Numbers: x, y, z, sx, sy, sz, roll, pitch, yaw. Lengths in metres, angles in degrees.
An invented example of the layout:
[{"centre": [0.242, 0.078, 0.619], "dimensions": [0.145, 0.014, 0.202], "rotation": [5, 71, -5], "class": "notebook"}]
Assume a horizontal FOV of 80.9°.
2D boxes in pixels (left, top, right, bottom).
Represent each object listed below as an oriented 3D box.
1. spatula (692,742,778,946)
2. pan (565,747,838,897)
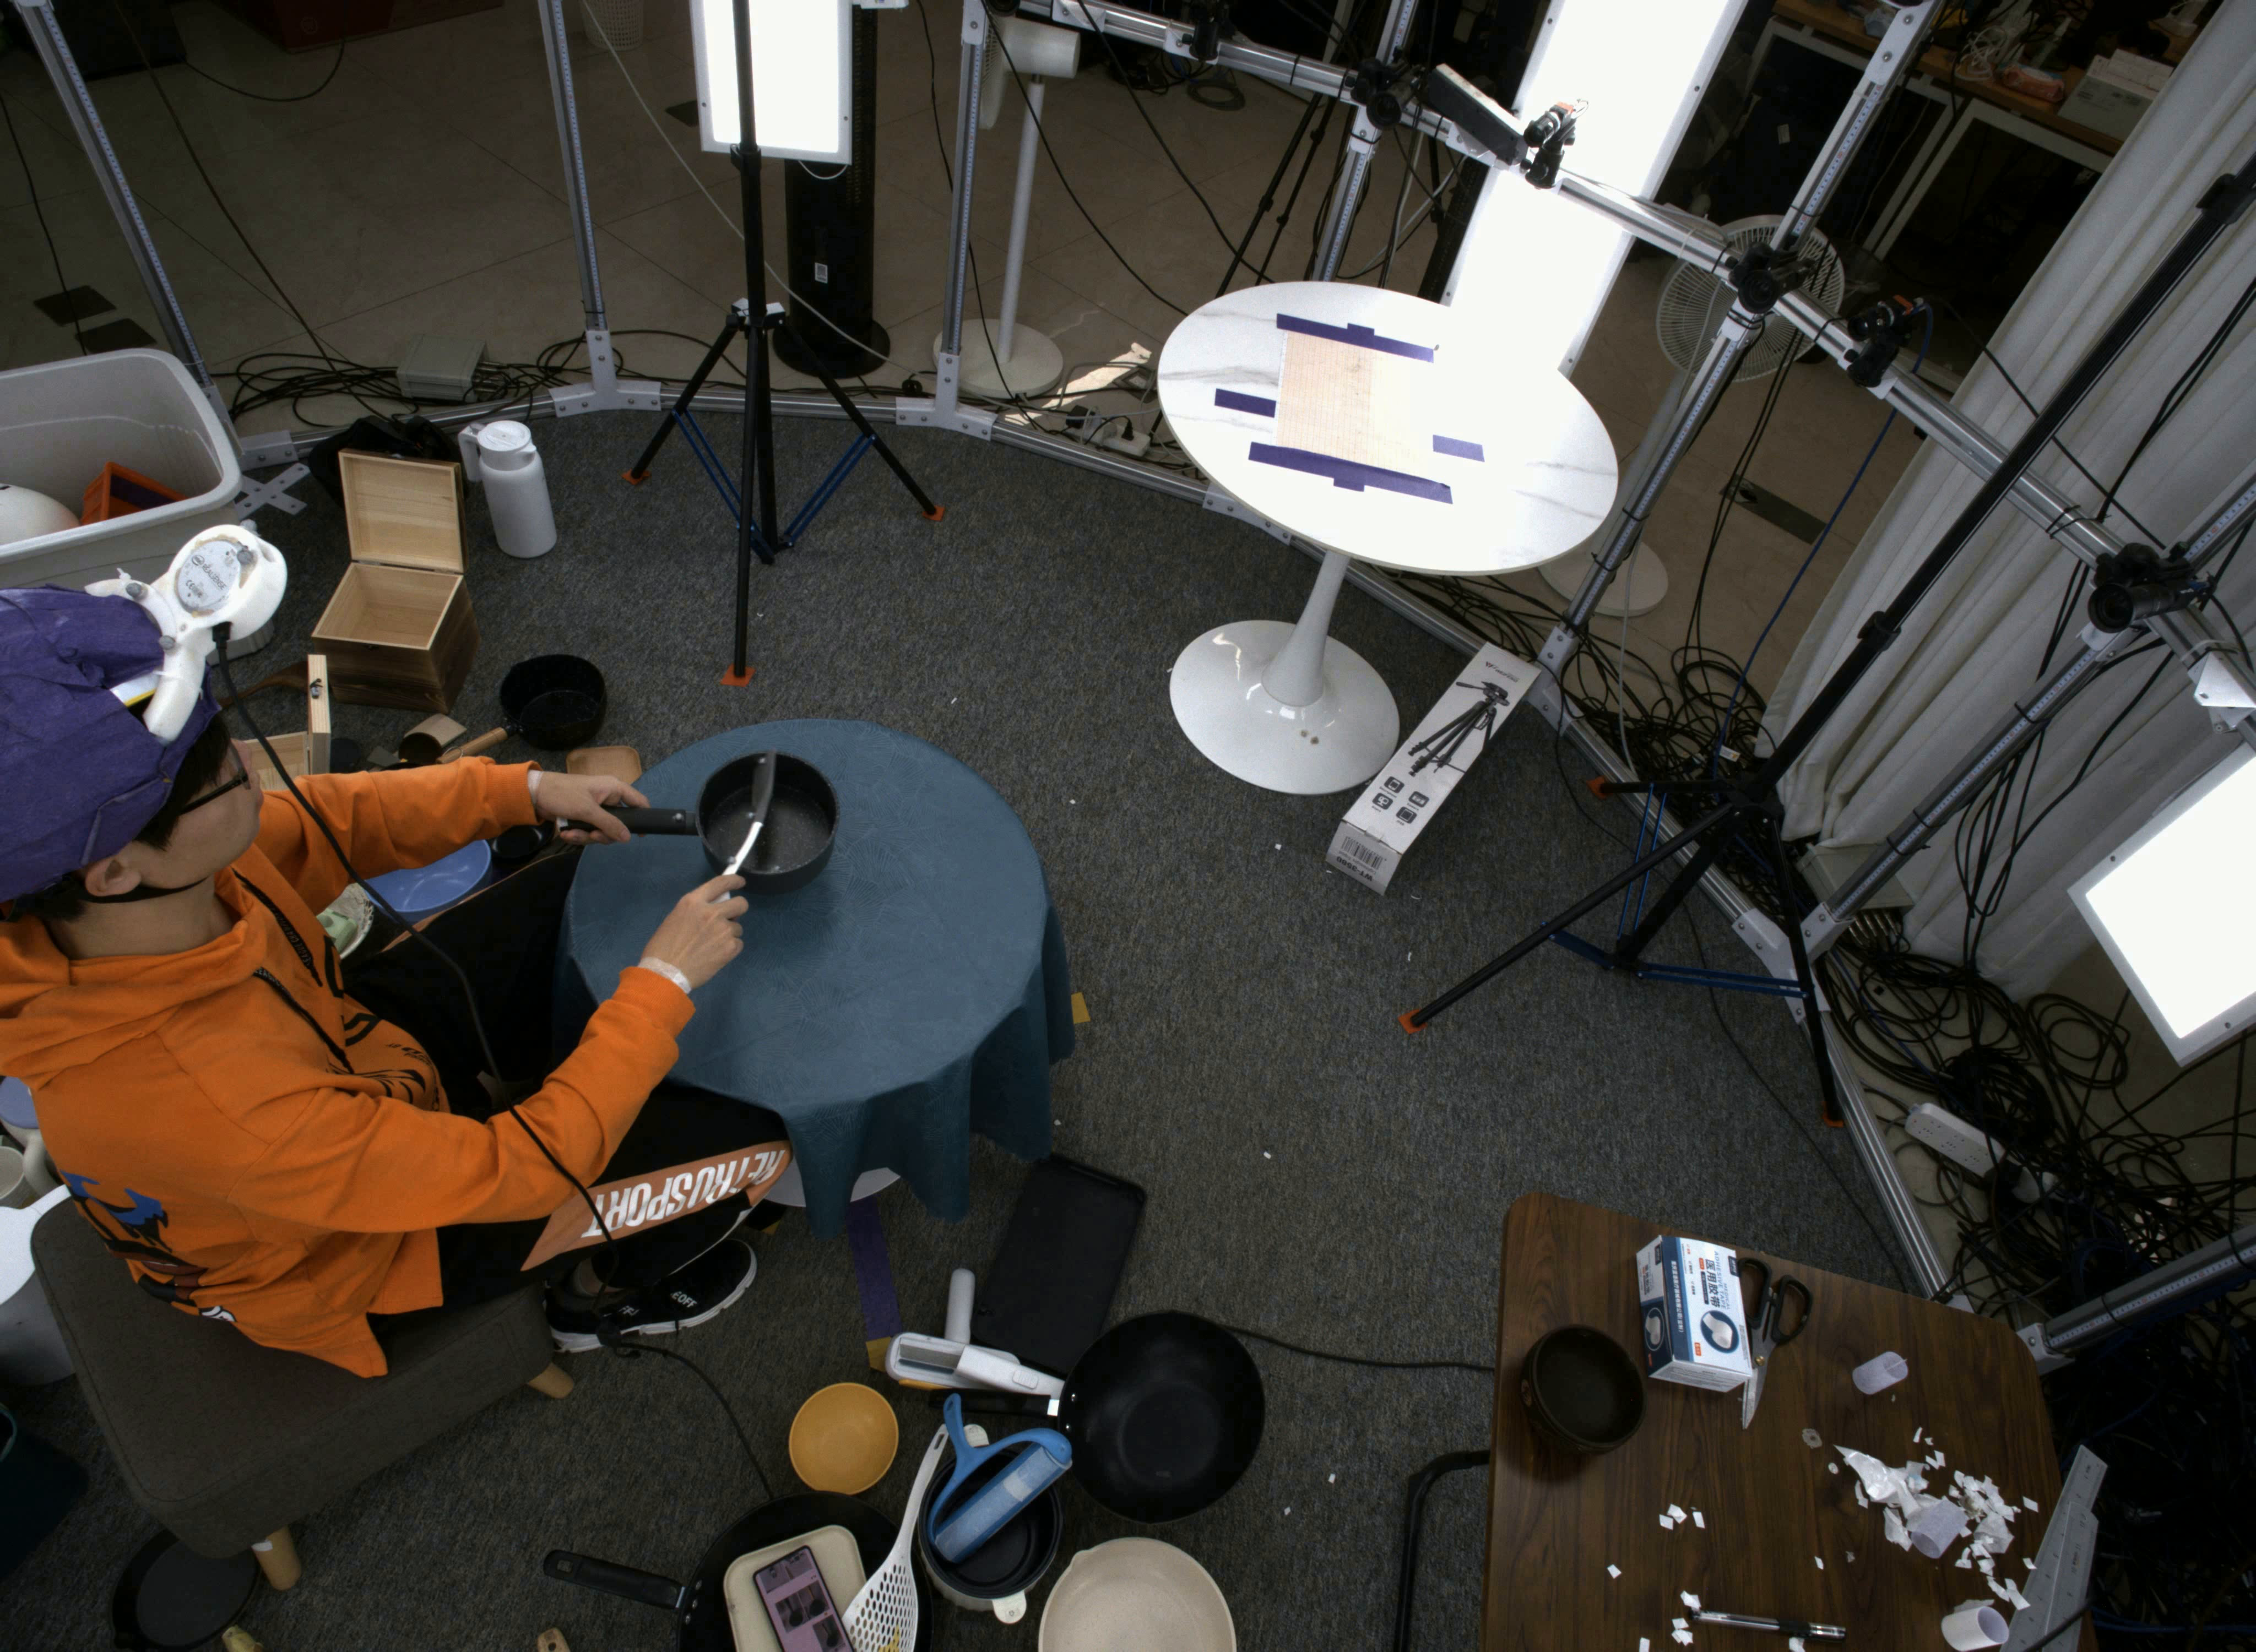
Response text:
[{"centre": [-0.451, 0.015, 1.507], "dimensions": [0.033, 0.058, 0.282], "rotation": [30, 43, -24], "class": "spatula"}, {"centre": [-0.520, -0.004, 1.563], "dimensions": [0.330, 0.087, 0.169], "rotation": [1, 62, -18], "class": "pan"}]
